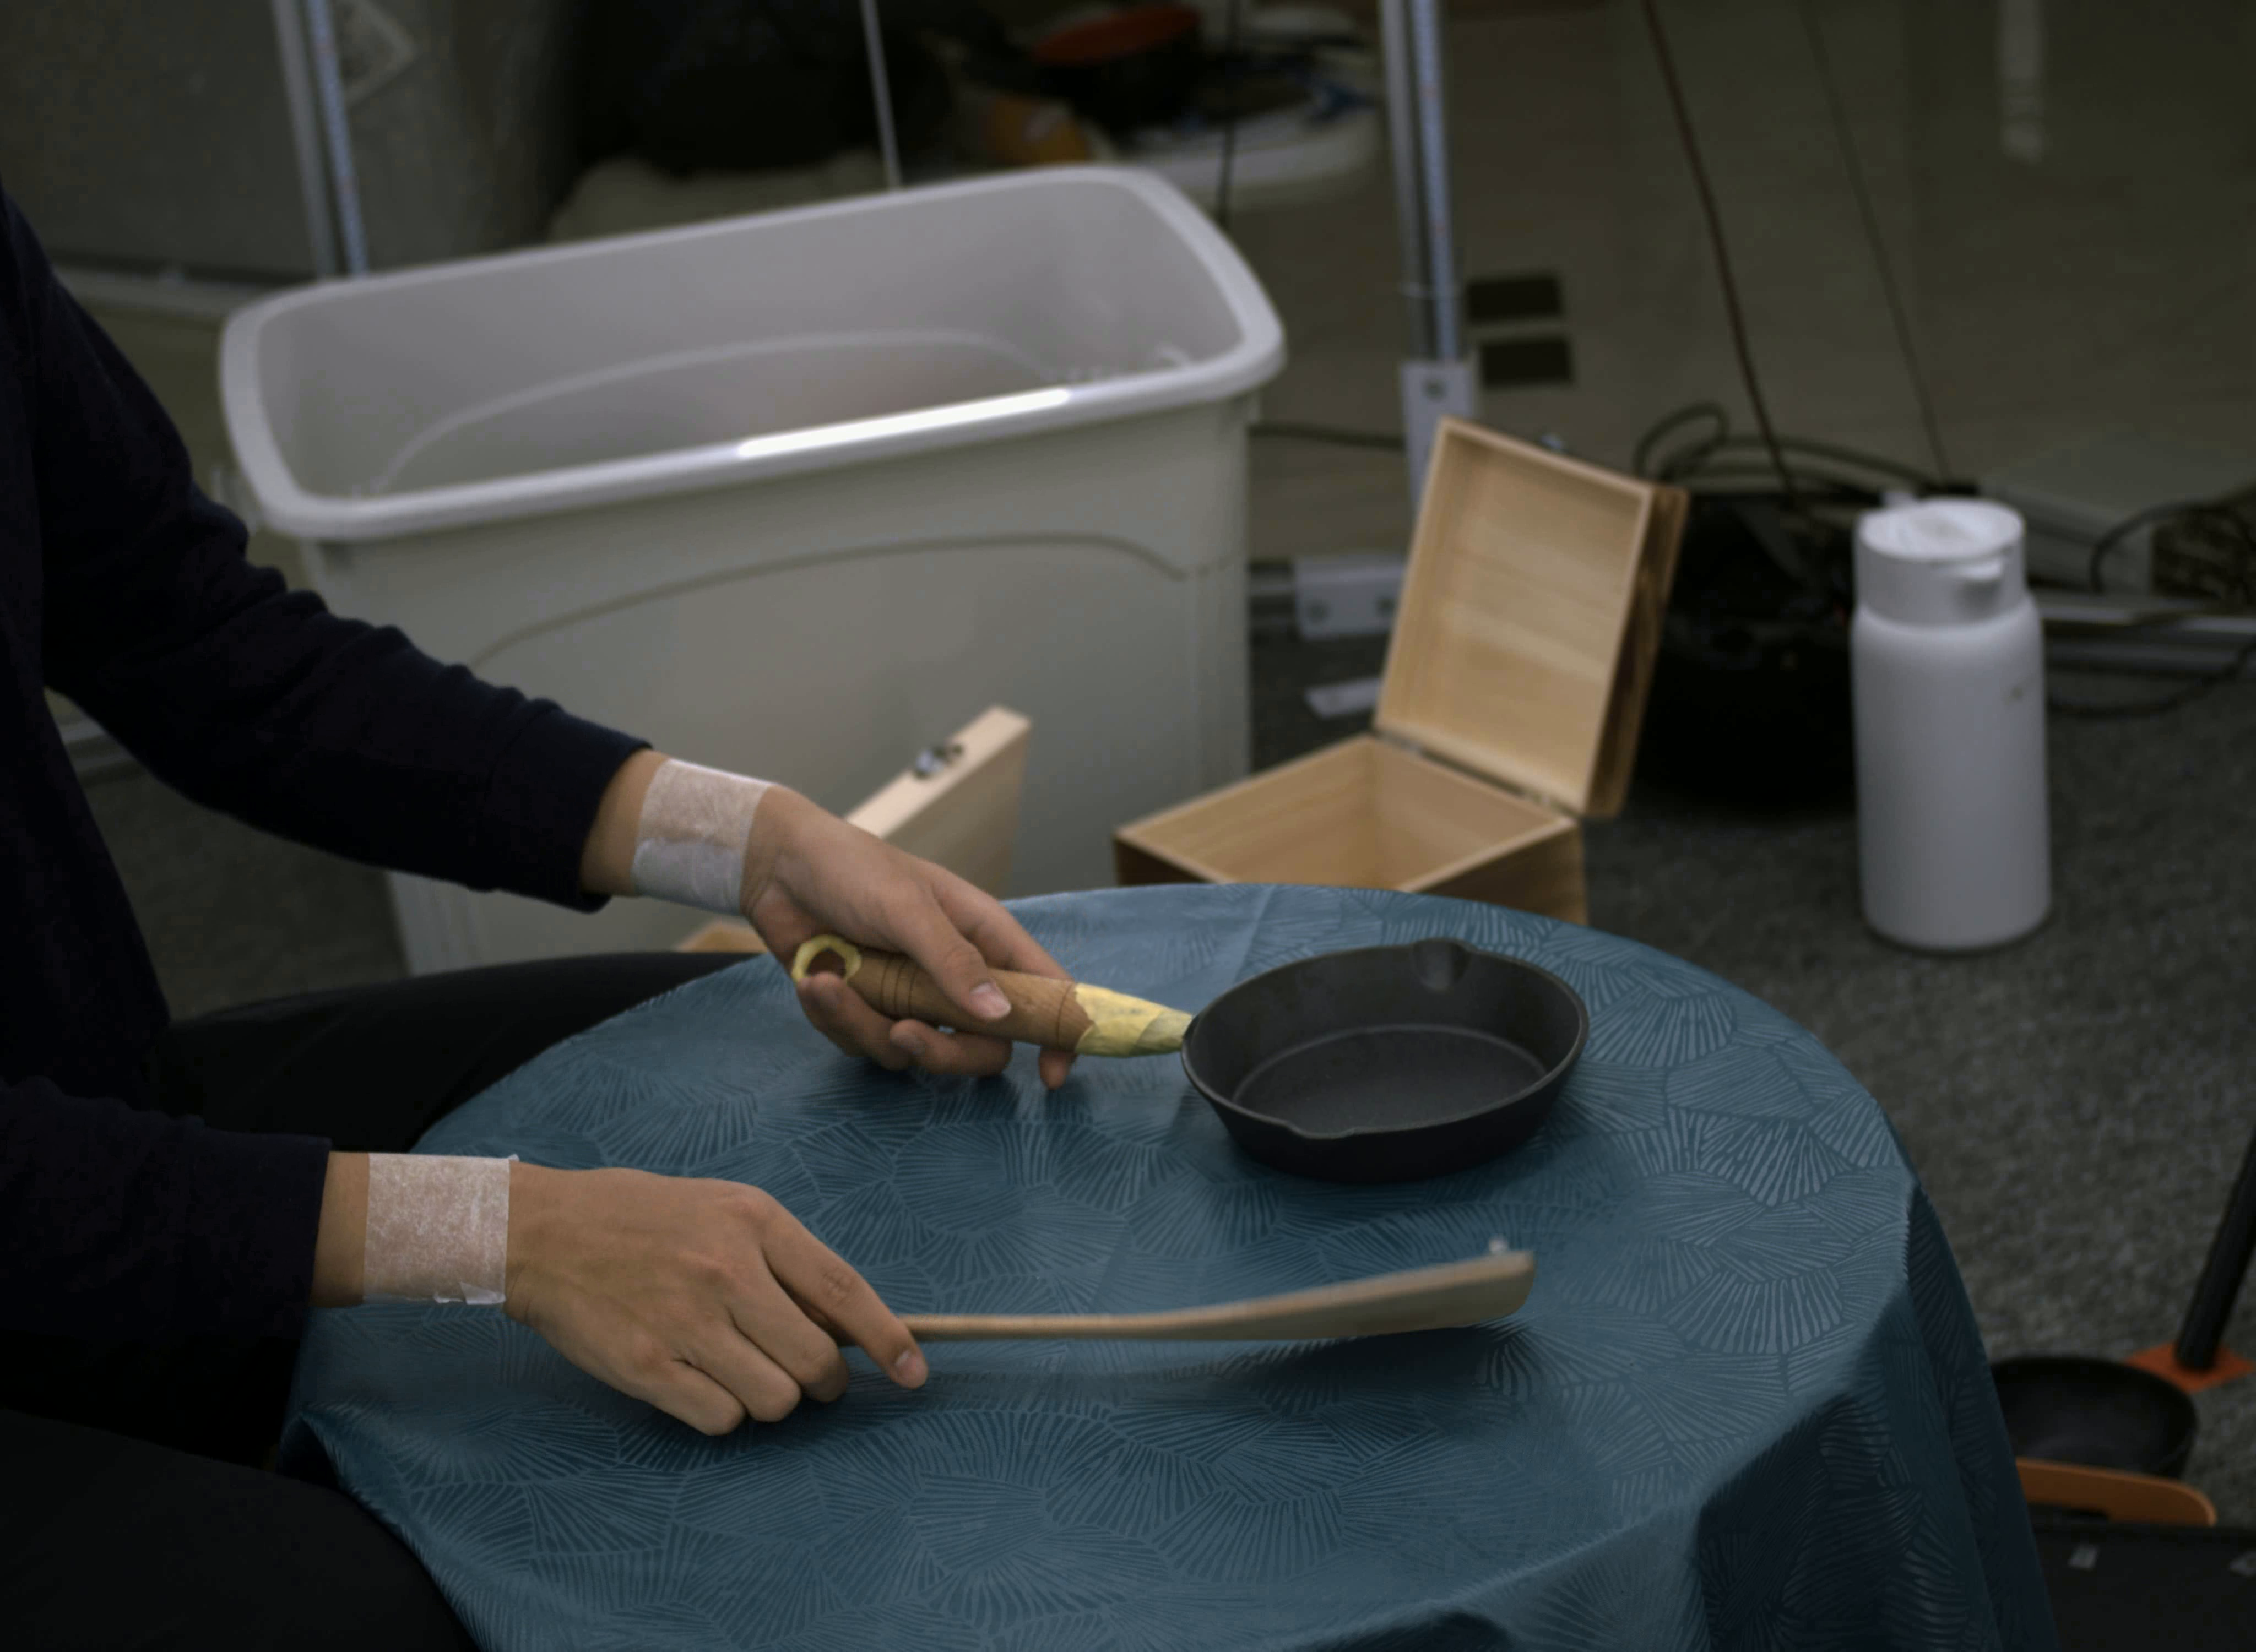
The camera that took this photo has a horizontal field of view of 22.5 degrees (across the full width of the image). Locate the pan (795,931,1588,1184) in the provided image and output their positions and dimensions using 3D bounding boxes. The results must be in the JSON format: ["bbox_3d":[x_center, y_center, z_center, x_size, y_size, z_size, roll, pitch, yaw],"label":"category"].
[{"bbox_3d":[0.021,0.080,2.207,0.323,0.050,0.166,6,28,21],"label":"pan"}]

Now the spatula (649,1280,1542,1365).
[{"bbox_3d":[-0.012,0.178,2.020,0.327,0.016,0.080,-3,-10,11],"label":"spatula"}]
